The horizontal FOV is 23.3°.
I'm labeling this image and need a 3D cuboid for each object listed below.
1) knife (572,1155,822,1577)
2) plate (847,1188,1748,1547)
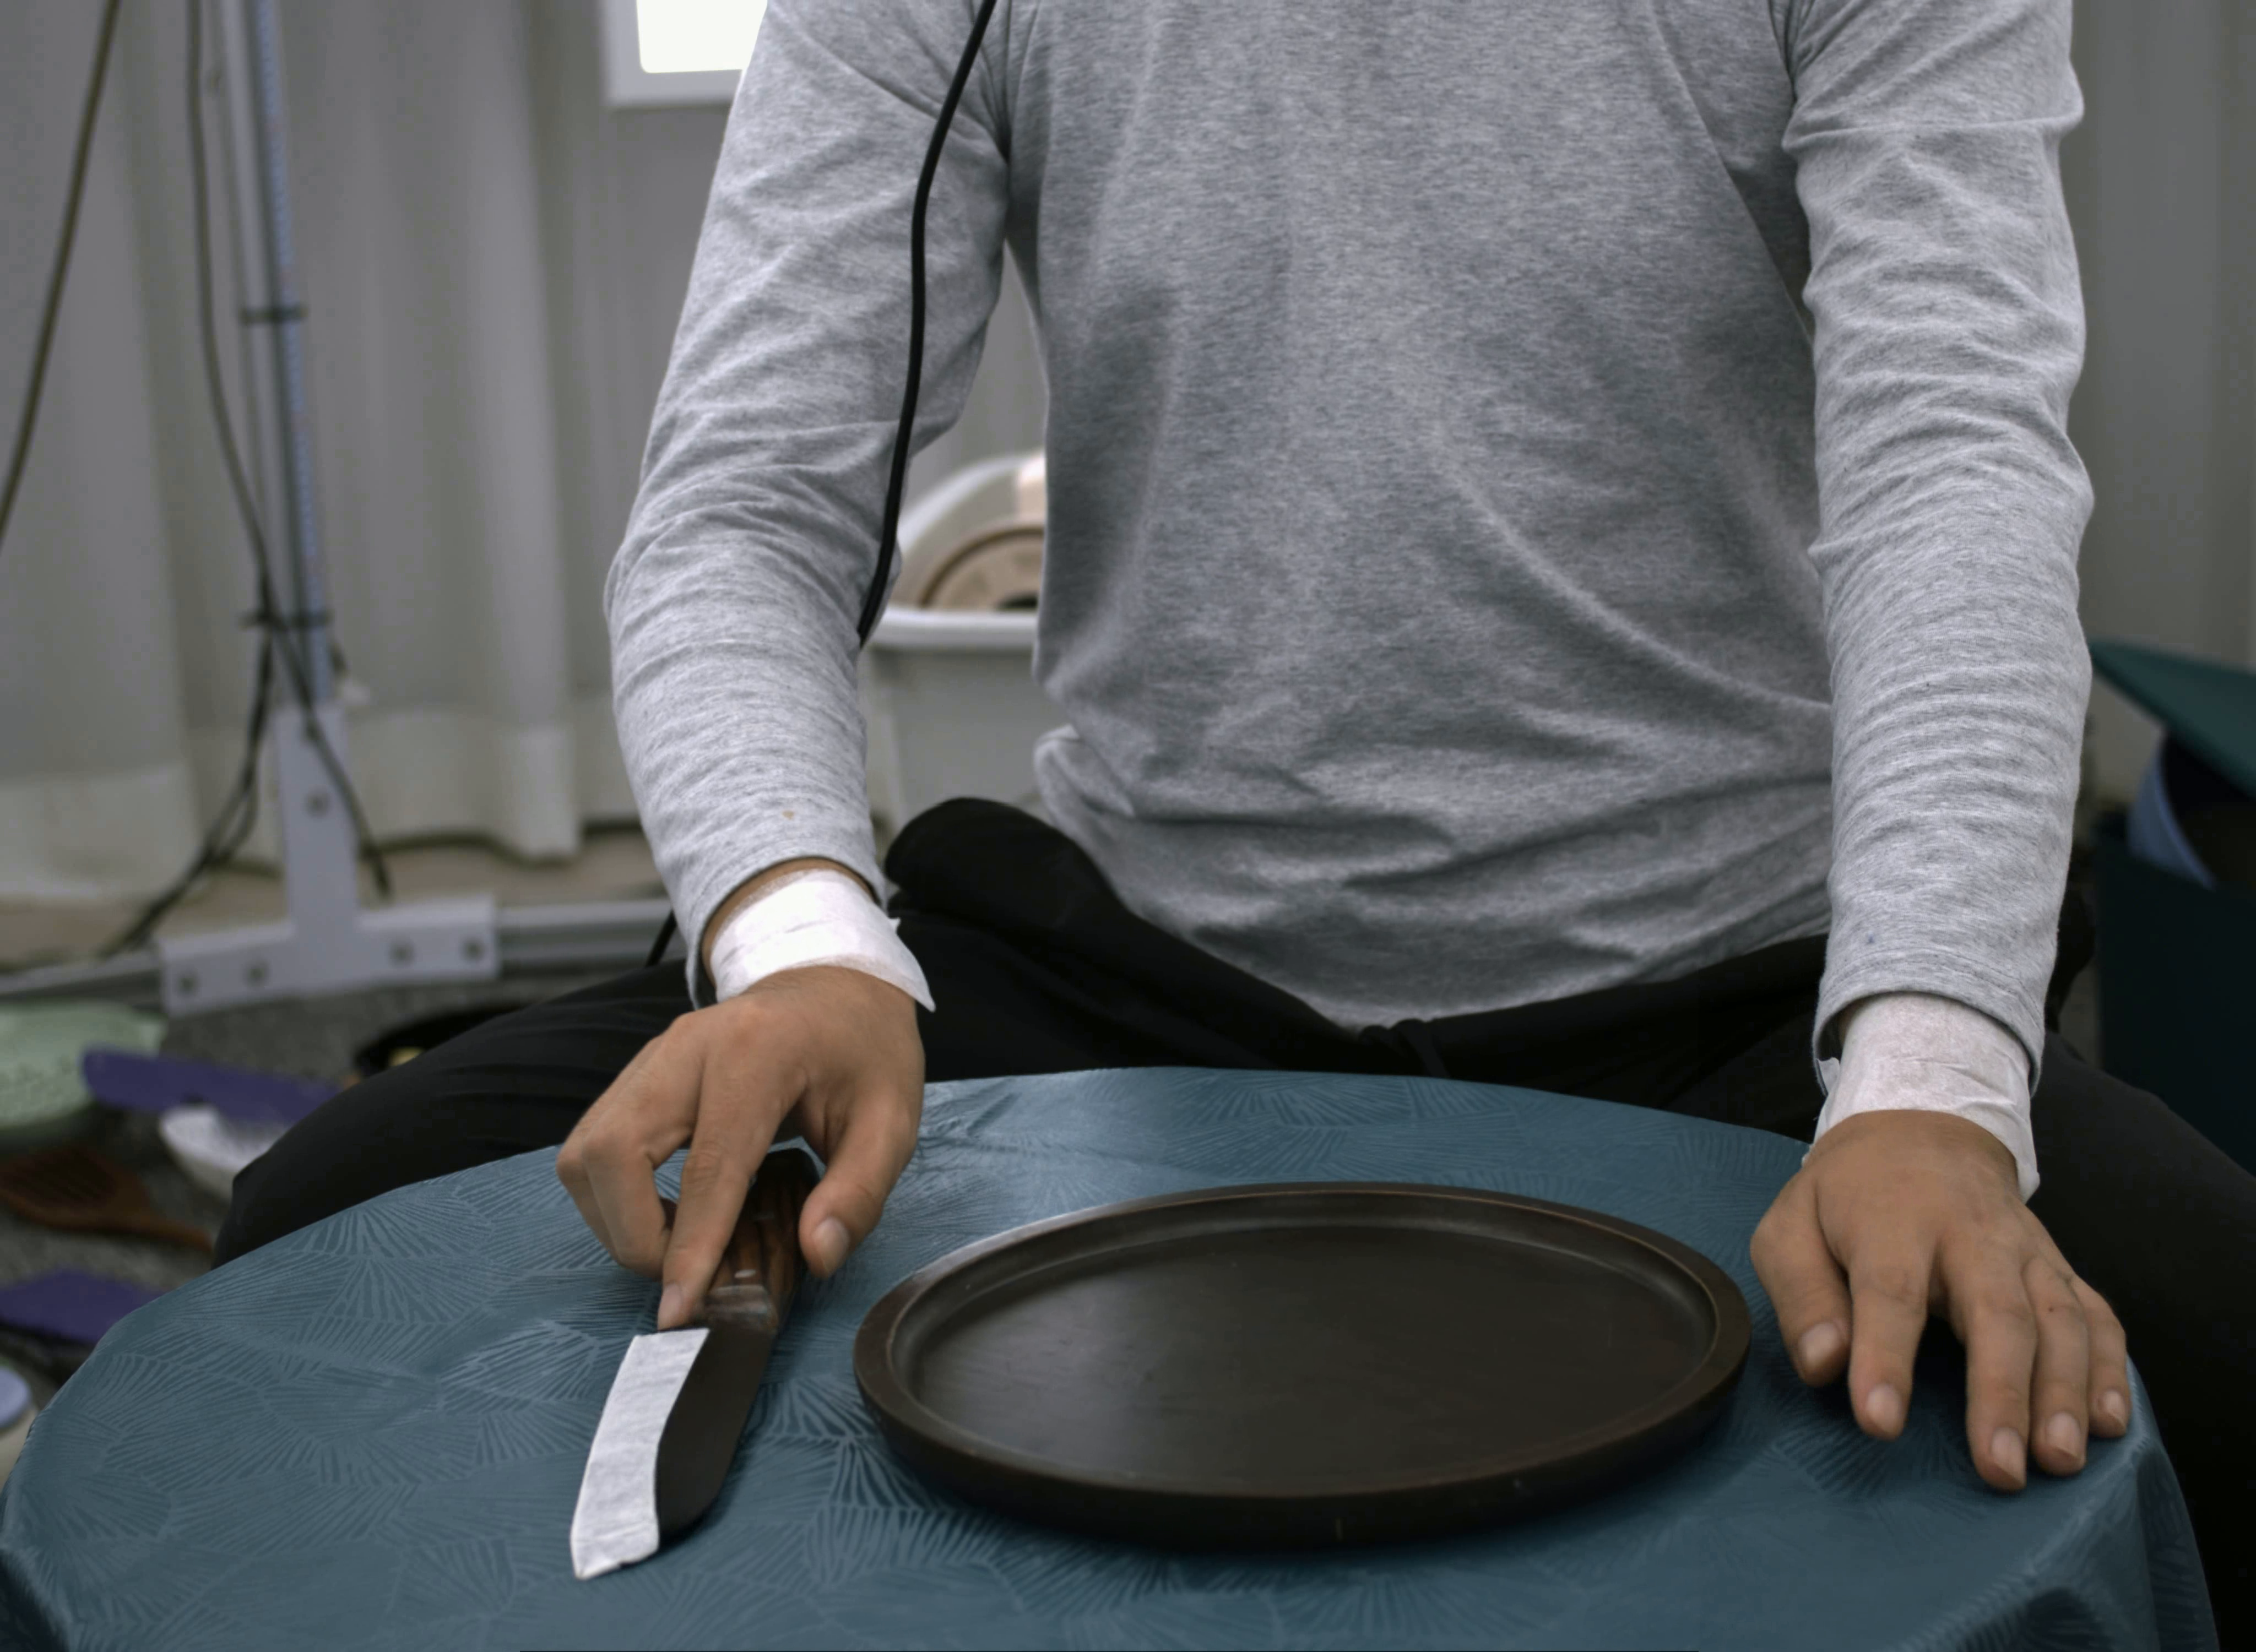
[{"bbox_3d":[-0.122,0.153,1.566,0.050,0.020,0.291,-7,16,9],"label":"knife"},{"bbox_3d":[0.048,0.149,1.532,0.254,0.029,0.256,-4,13,1],"label":"plate"}]
